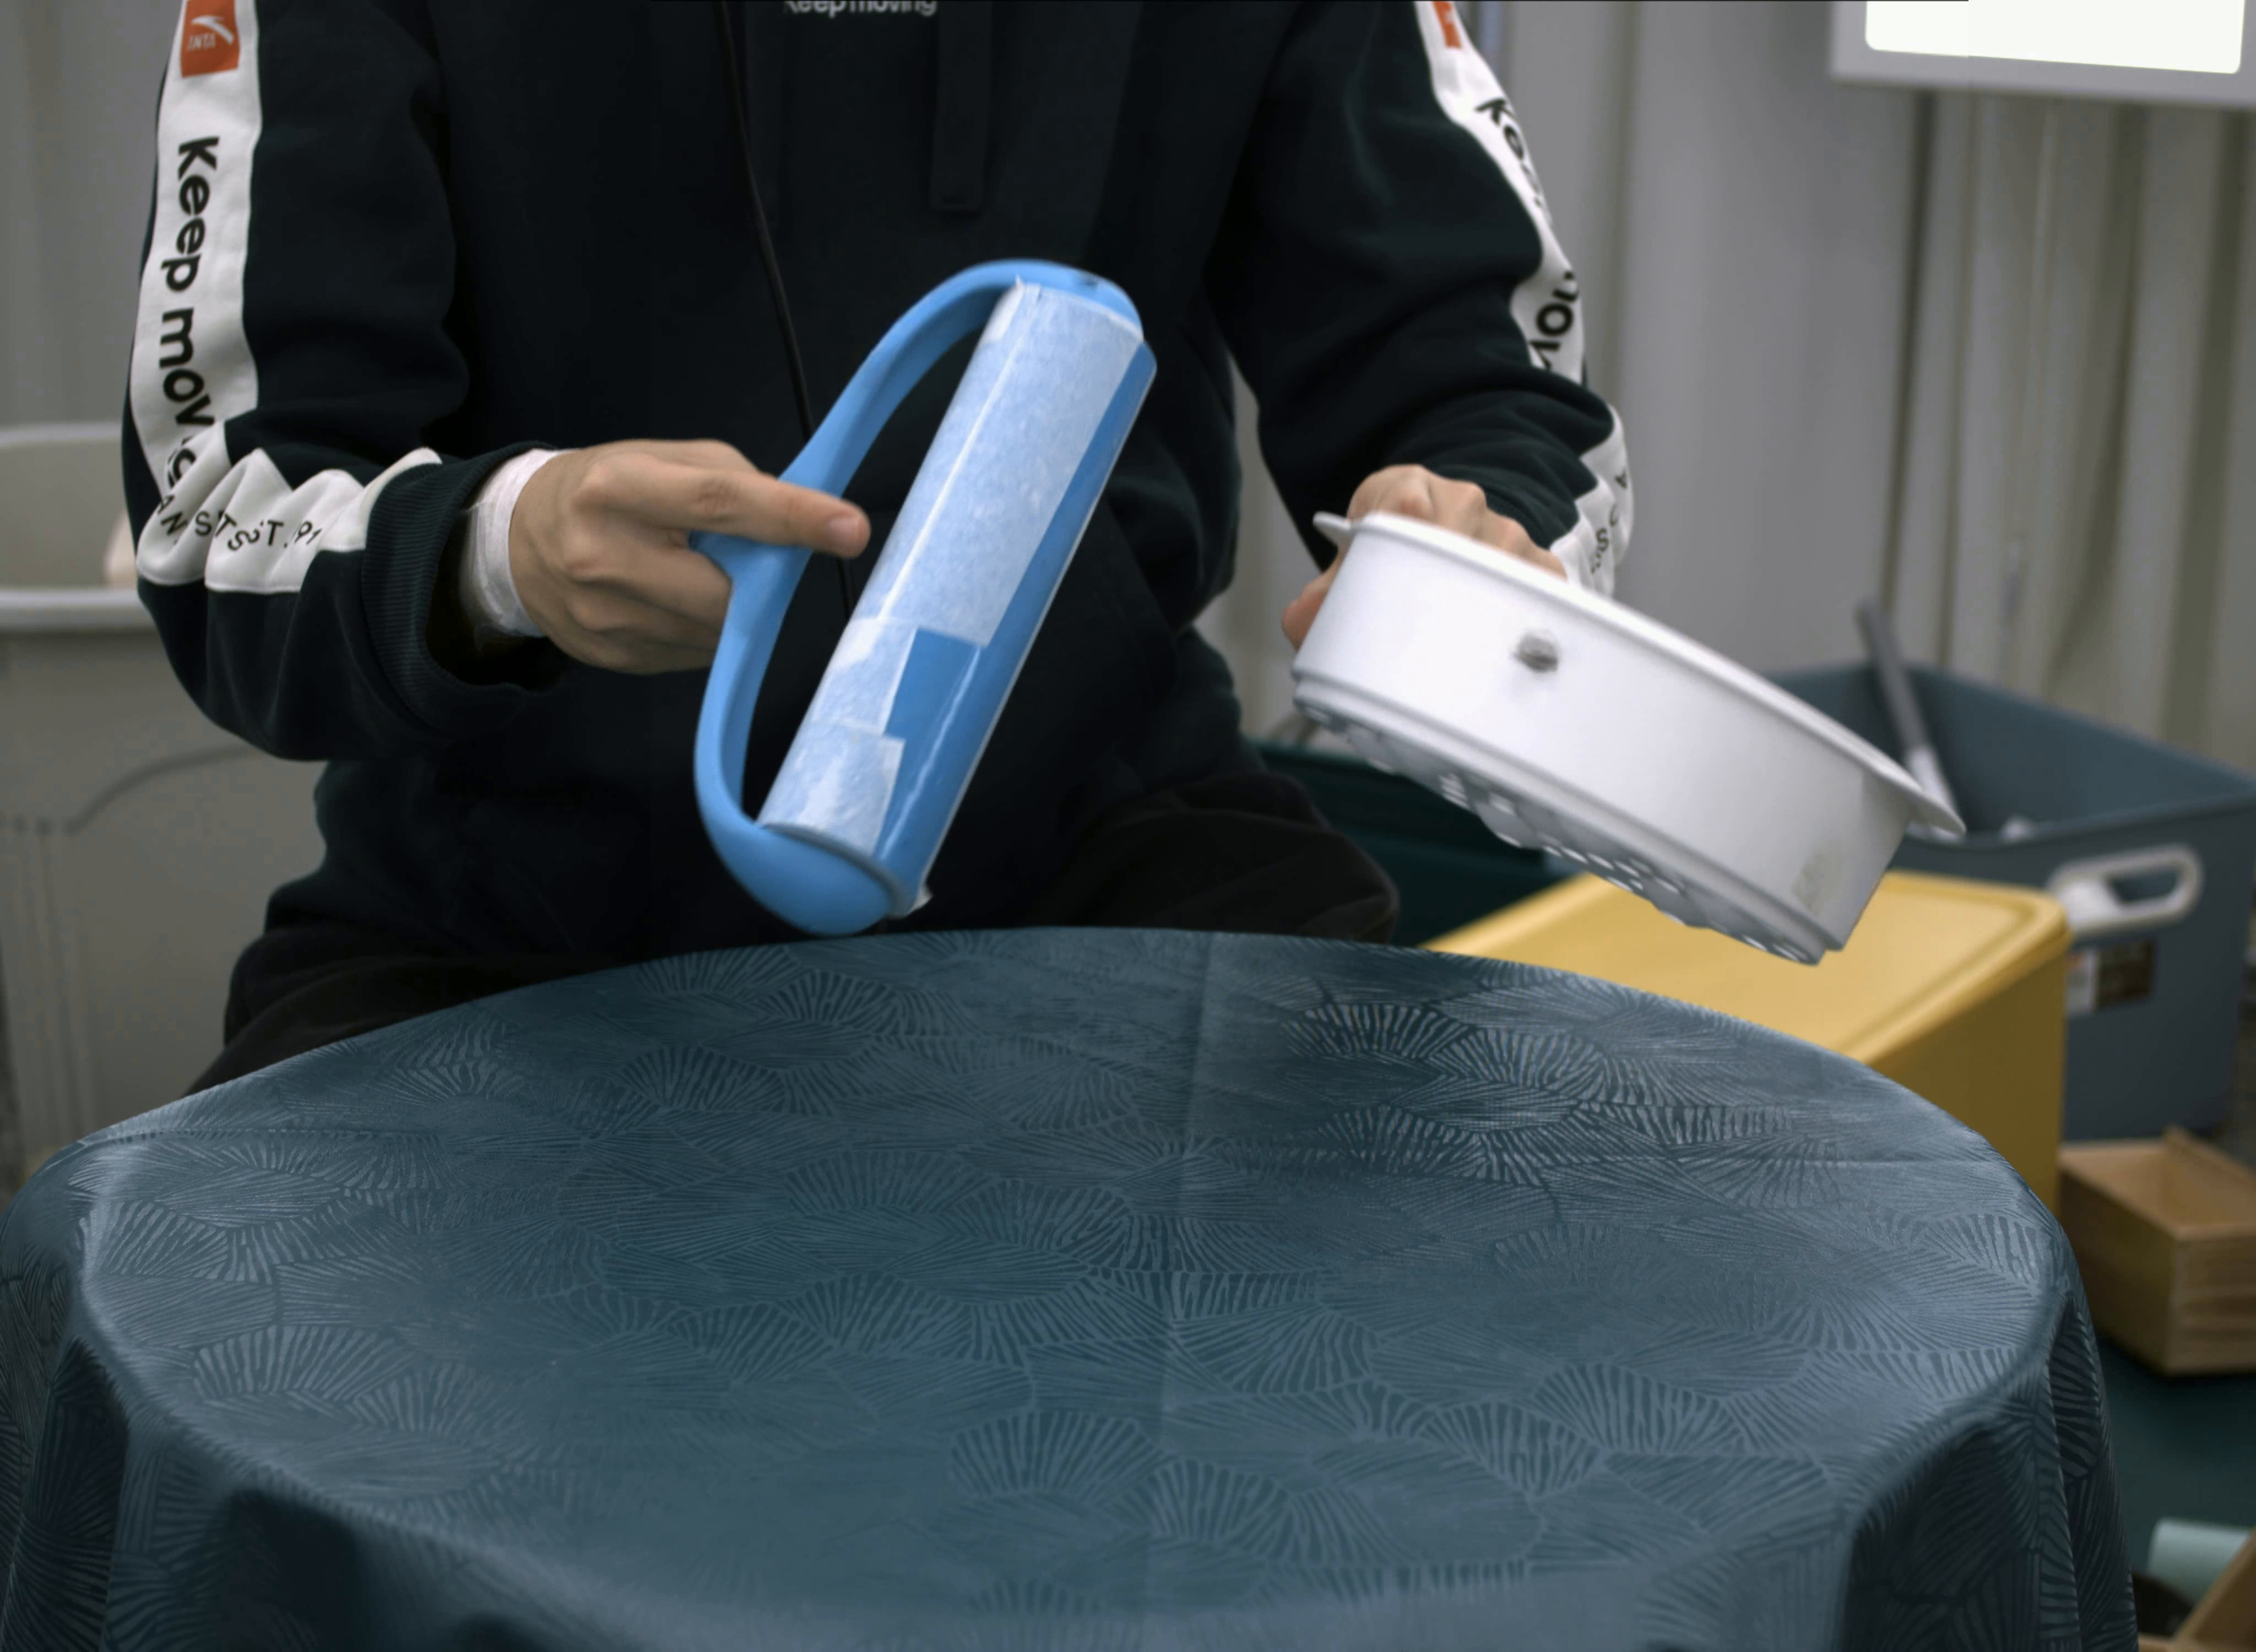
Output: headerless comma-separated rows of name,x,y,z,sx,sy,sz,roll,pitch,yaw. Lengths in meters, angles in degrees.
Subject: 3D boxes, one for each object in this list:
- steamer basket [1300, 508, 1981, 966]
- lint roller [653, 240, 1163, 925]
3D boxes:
steamer basket,0.150,-0.024,1.644,0.228,0.069,0.204,25,-6,22
lint roller,-0.093,-0.075,1.621,0.178,0.228,0.069,1,-26,37
